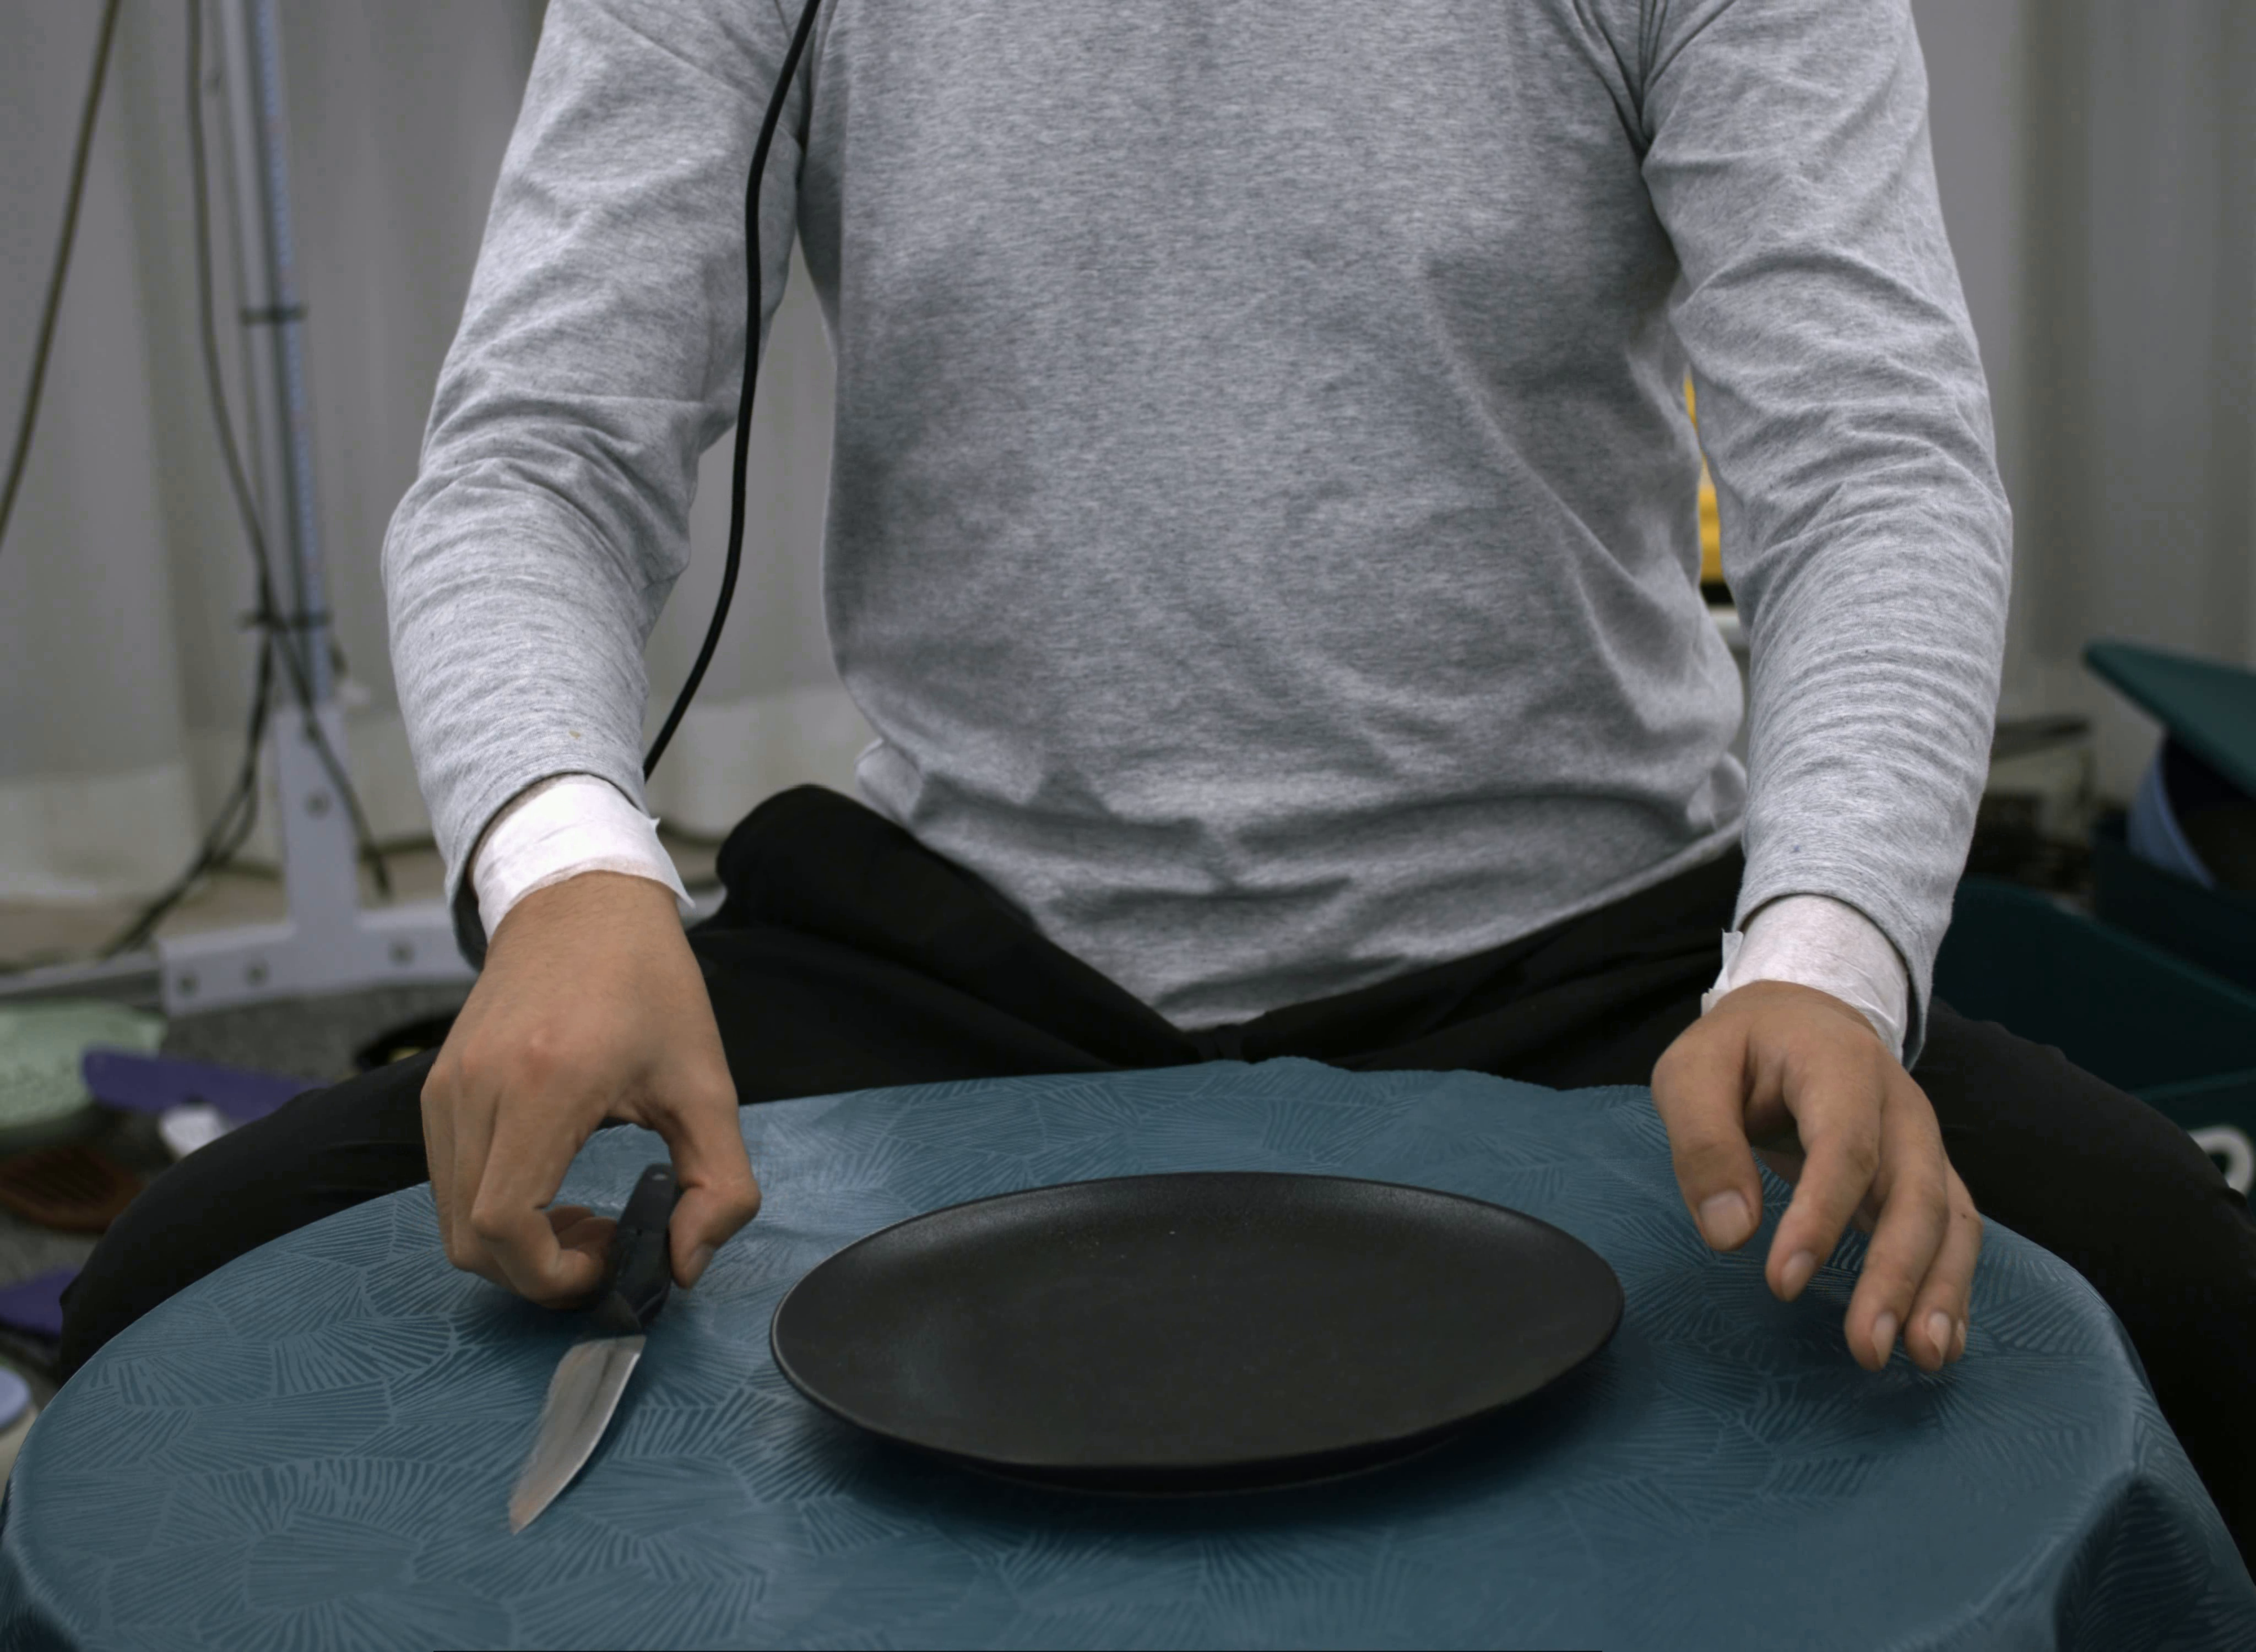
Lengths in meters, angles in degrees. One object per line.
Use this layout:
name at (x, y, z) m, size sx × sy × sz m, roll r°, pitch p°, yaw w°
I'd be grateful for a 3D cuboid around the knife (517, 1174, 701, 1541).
knife at (-0.152, 0.152, 1.574) m, size 0.024 × 0.016 × 0.240 m, roll -1°, pitch 19°, yaw 6°

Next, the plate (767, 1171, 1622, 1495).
plate at (0.019, 0.146, 1.551) m, size 0.243 × 0.023 × 0.246 m, roll -3°, pitch 15°, yaw 0°
